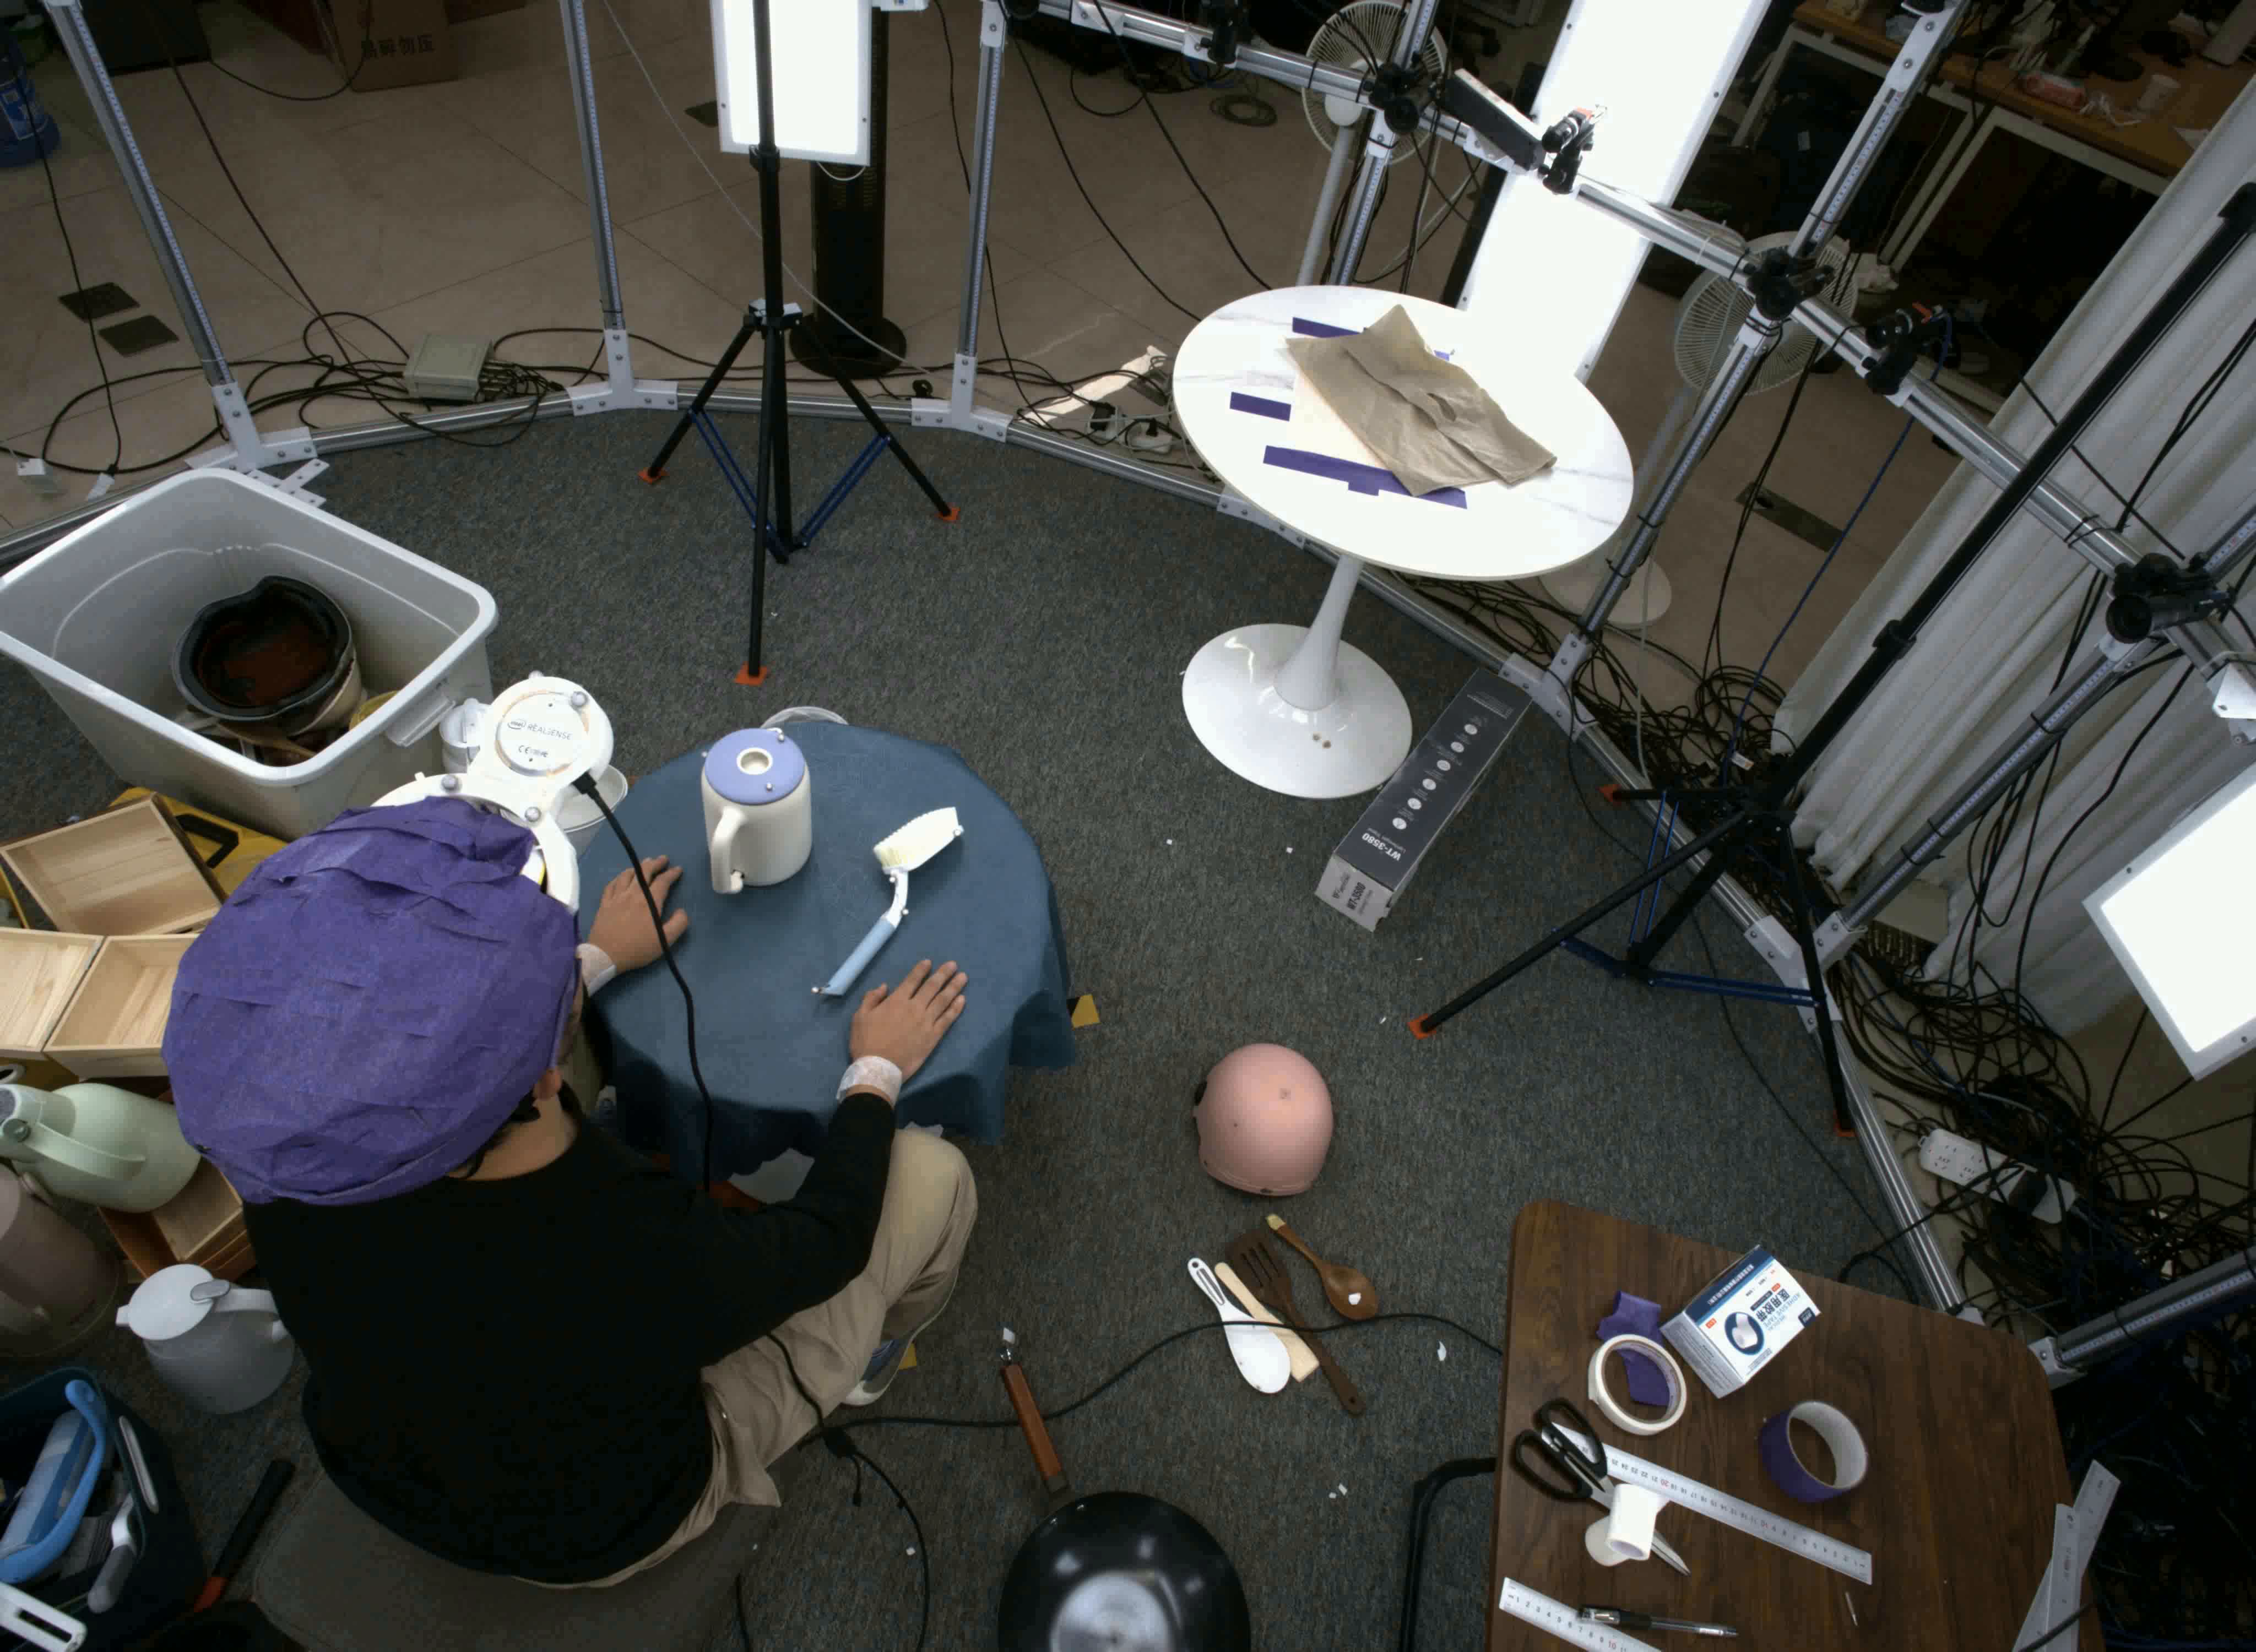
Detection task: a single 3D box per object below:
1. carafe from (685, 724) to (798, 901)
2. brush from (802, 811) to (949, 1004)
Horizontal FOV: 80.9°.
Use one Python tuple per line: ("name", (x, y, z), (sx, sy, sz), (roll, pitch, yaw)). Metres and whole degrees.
("carafe", (-0.485, -0.005, 1.595), (0.131, 0.186, 0.188), (14, 52, -1))
("brush", (-0.327, 0.081, 1.631), (0.084, 0.084, 0.323), (31, 51, 3))
